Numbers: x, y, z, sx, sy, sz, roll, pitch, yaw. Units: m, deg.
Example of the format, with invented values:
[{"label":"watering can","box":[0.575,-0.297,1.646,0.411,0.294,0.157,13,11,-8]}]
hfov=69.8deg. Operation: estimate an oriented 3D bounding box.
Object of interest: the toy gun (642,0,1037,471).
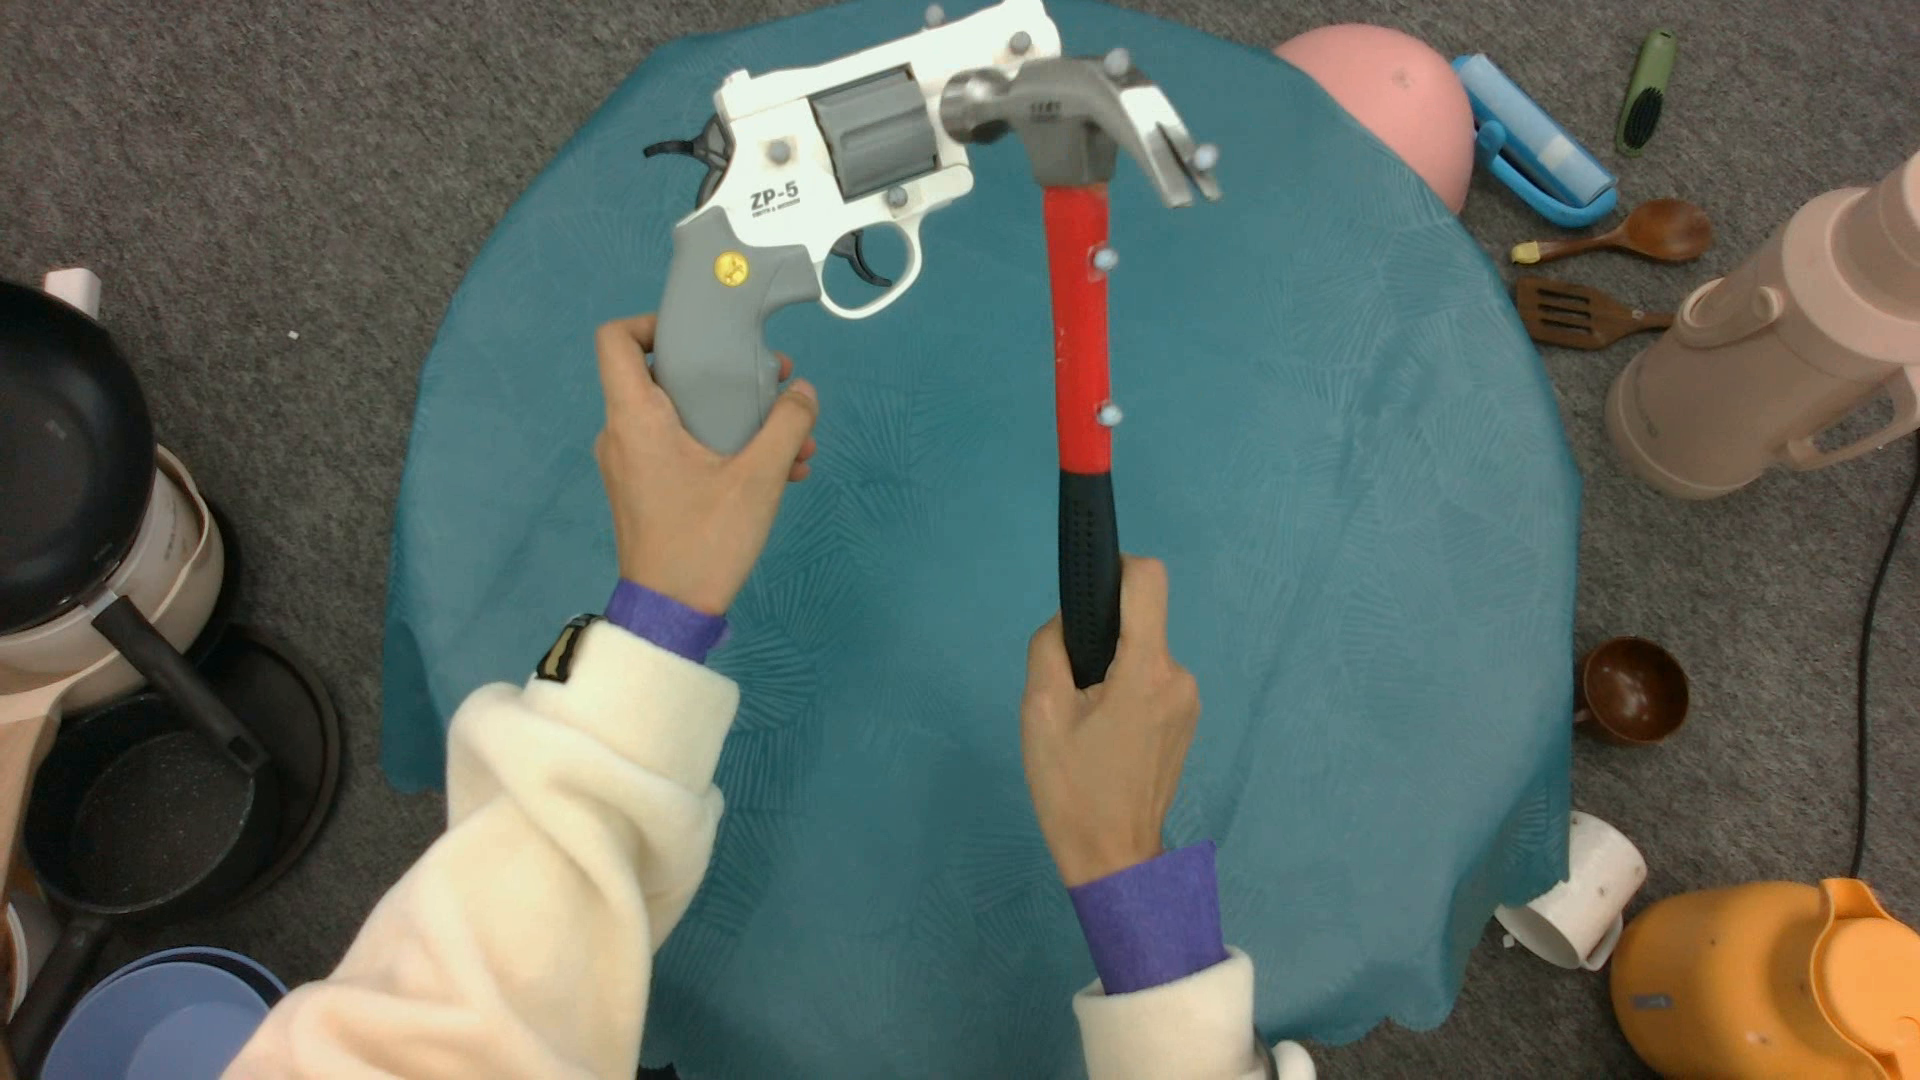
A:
[{"label":"toy gun","box":[-0.046,-0.125,0.540,0.209,0.039,0.141,-26,104,-14]}]

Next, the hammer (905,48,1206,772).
[{"label":"hammer","box":[0.040,-0.038,0.517,0.110,0.276,0.026,11,25,37]}]
